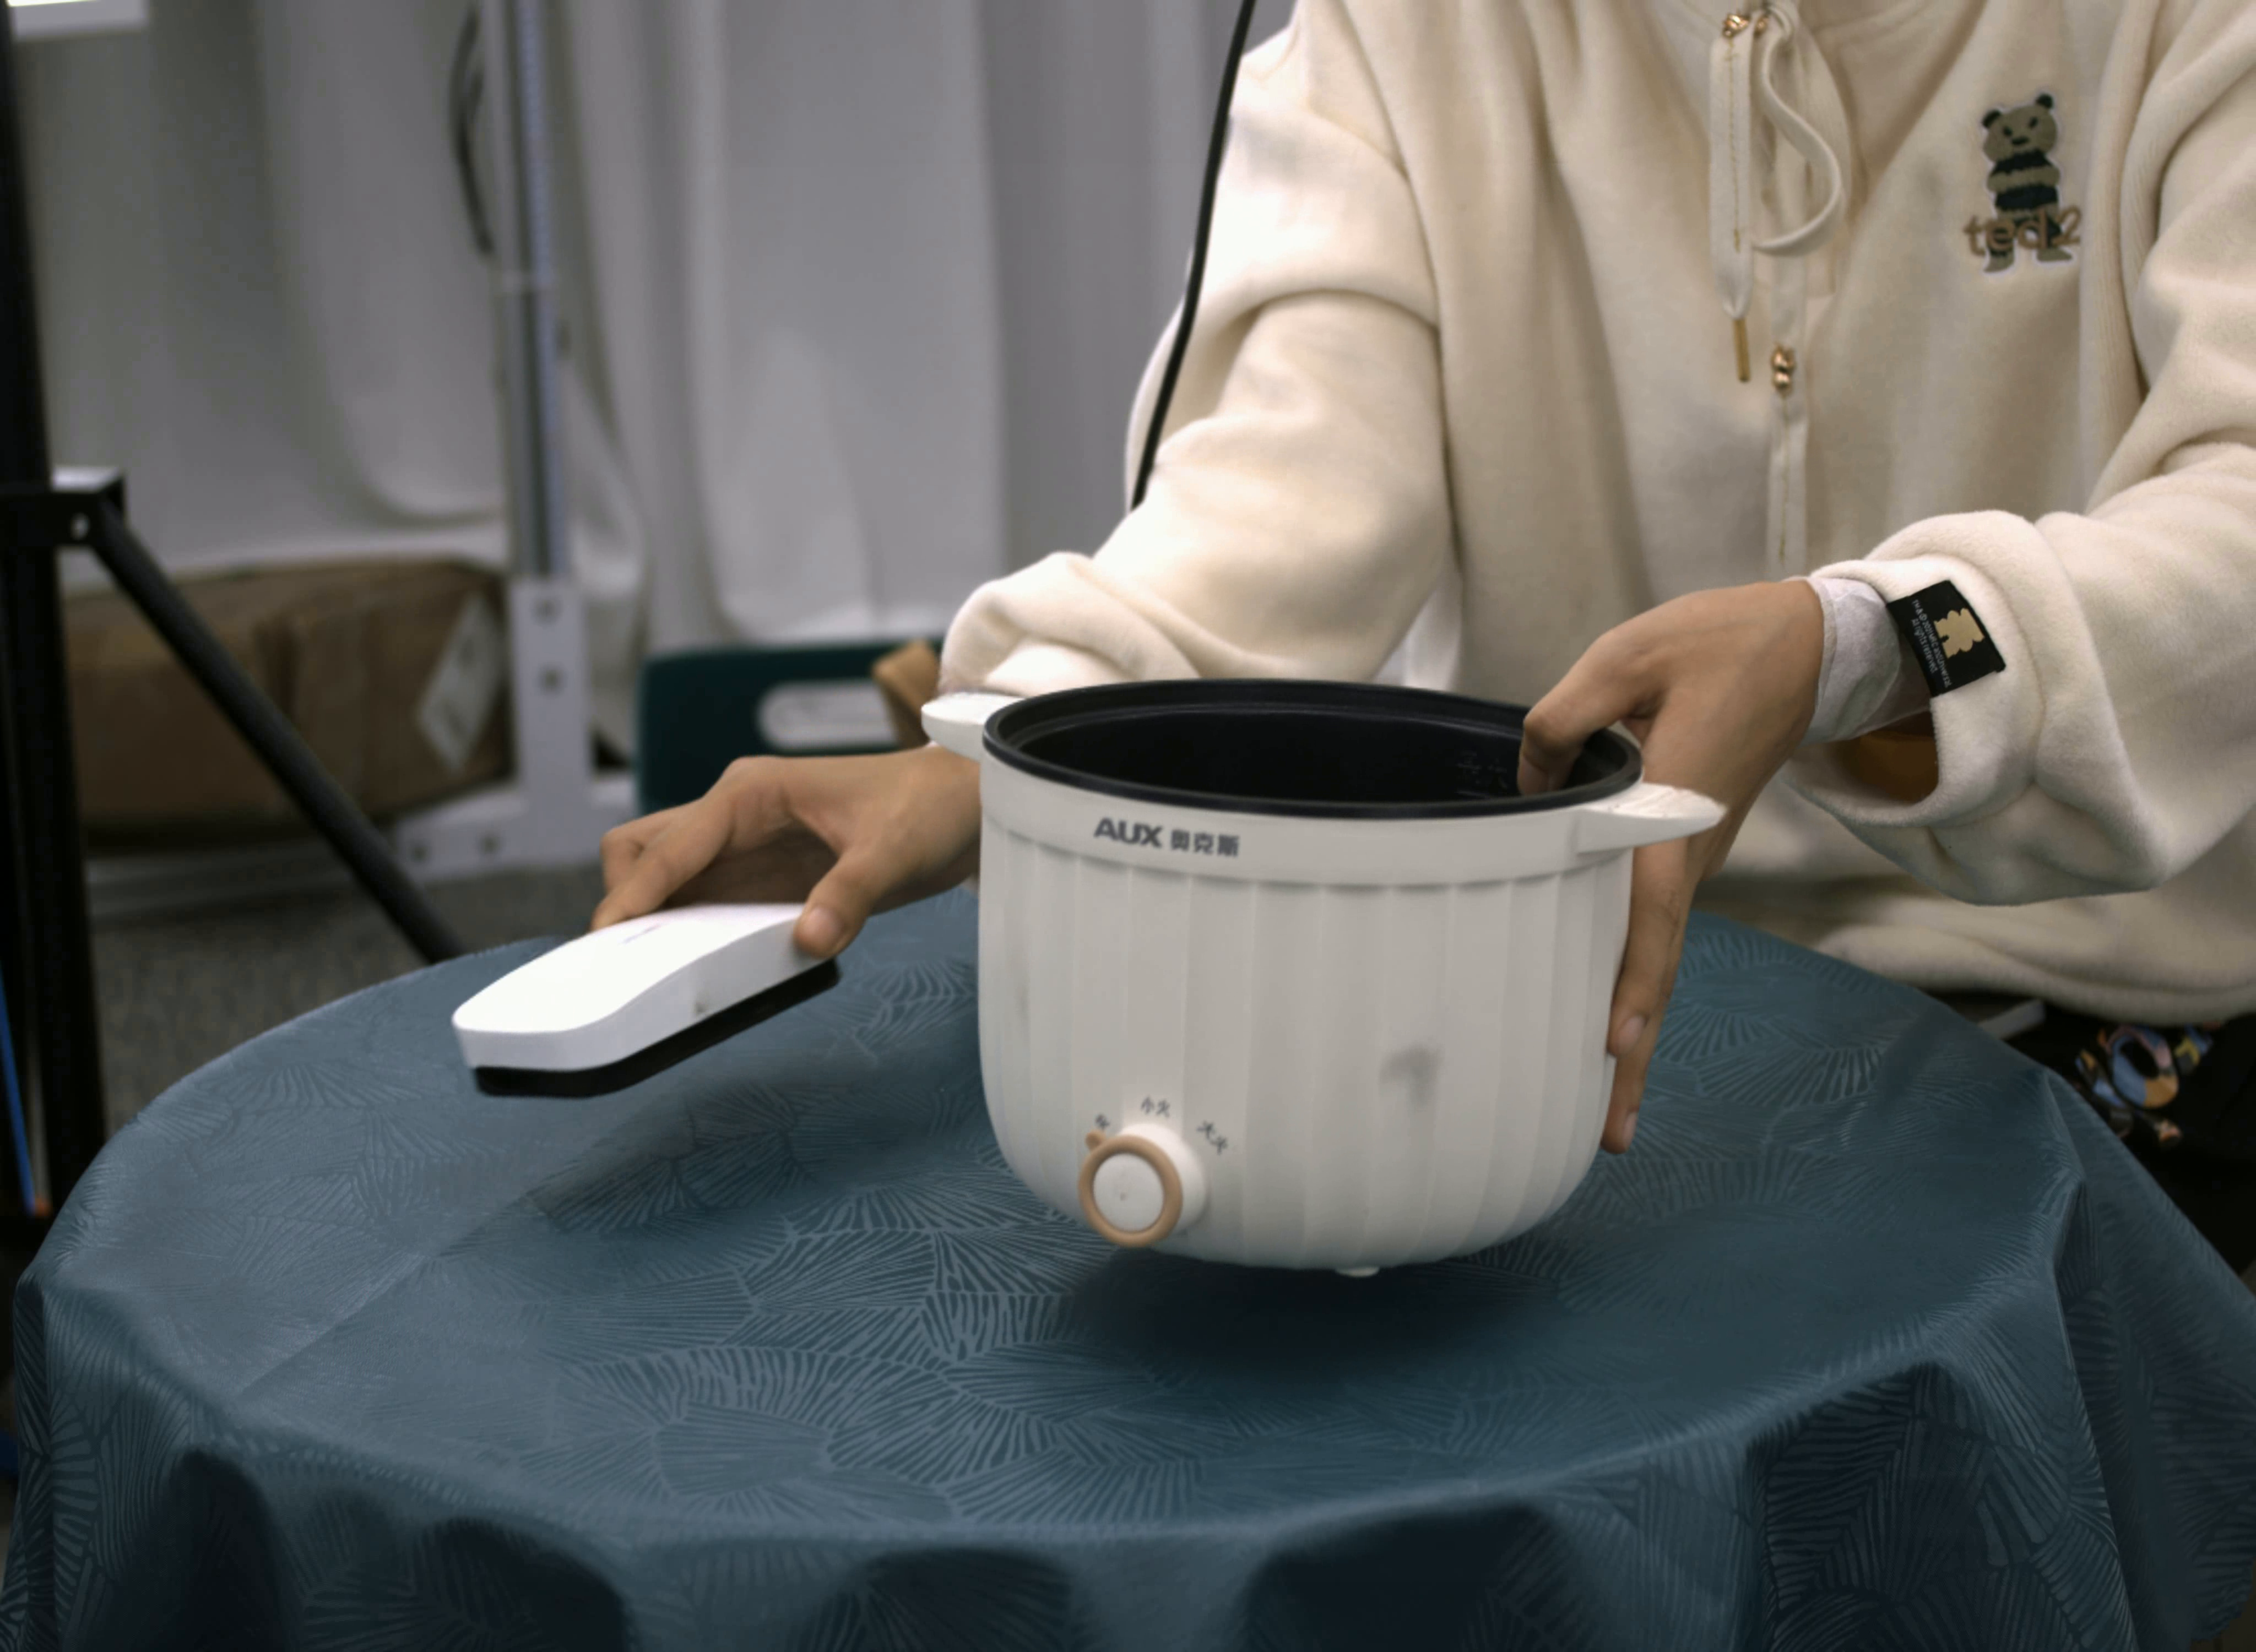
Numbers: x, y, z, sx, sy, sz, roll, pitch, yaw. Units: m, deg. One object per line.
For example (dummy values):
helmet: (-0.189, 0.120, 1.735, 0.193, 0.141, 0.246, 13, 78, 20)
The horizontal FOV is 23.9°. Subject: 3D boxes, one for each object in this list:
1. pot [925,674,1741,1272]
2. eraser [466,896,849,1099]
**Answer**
pot: (0.048, 0.041, 1.454, 0.244, 0.143, 0.187, 7, 9, 27)
eraser: (-0.137, 0.047, 1.593, 0.064, 0.034, 0.129, 0, 16, 35)
